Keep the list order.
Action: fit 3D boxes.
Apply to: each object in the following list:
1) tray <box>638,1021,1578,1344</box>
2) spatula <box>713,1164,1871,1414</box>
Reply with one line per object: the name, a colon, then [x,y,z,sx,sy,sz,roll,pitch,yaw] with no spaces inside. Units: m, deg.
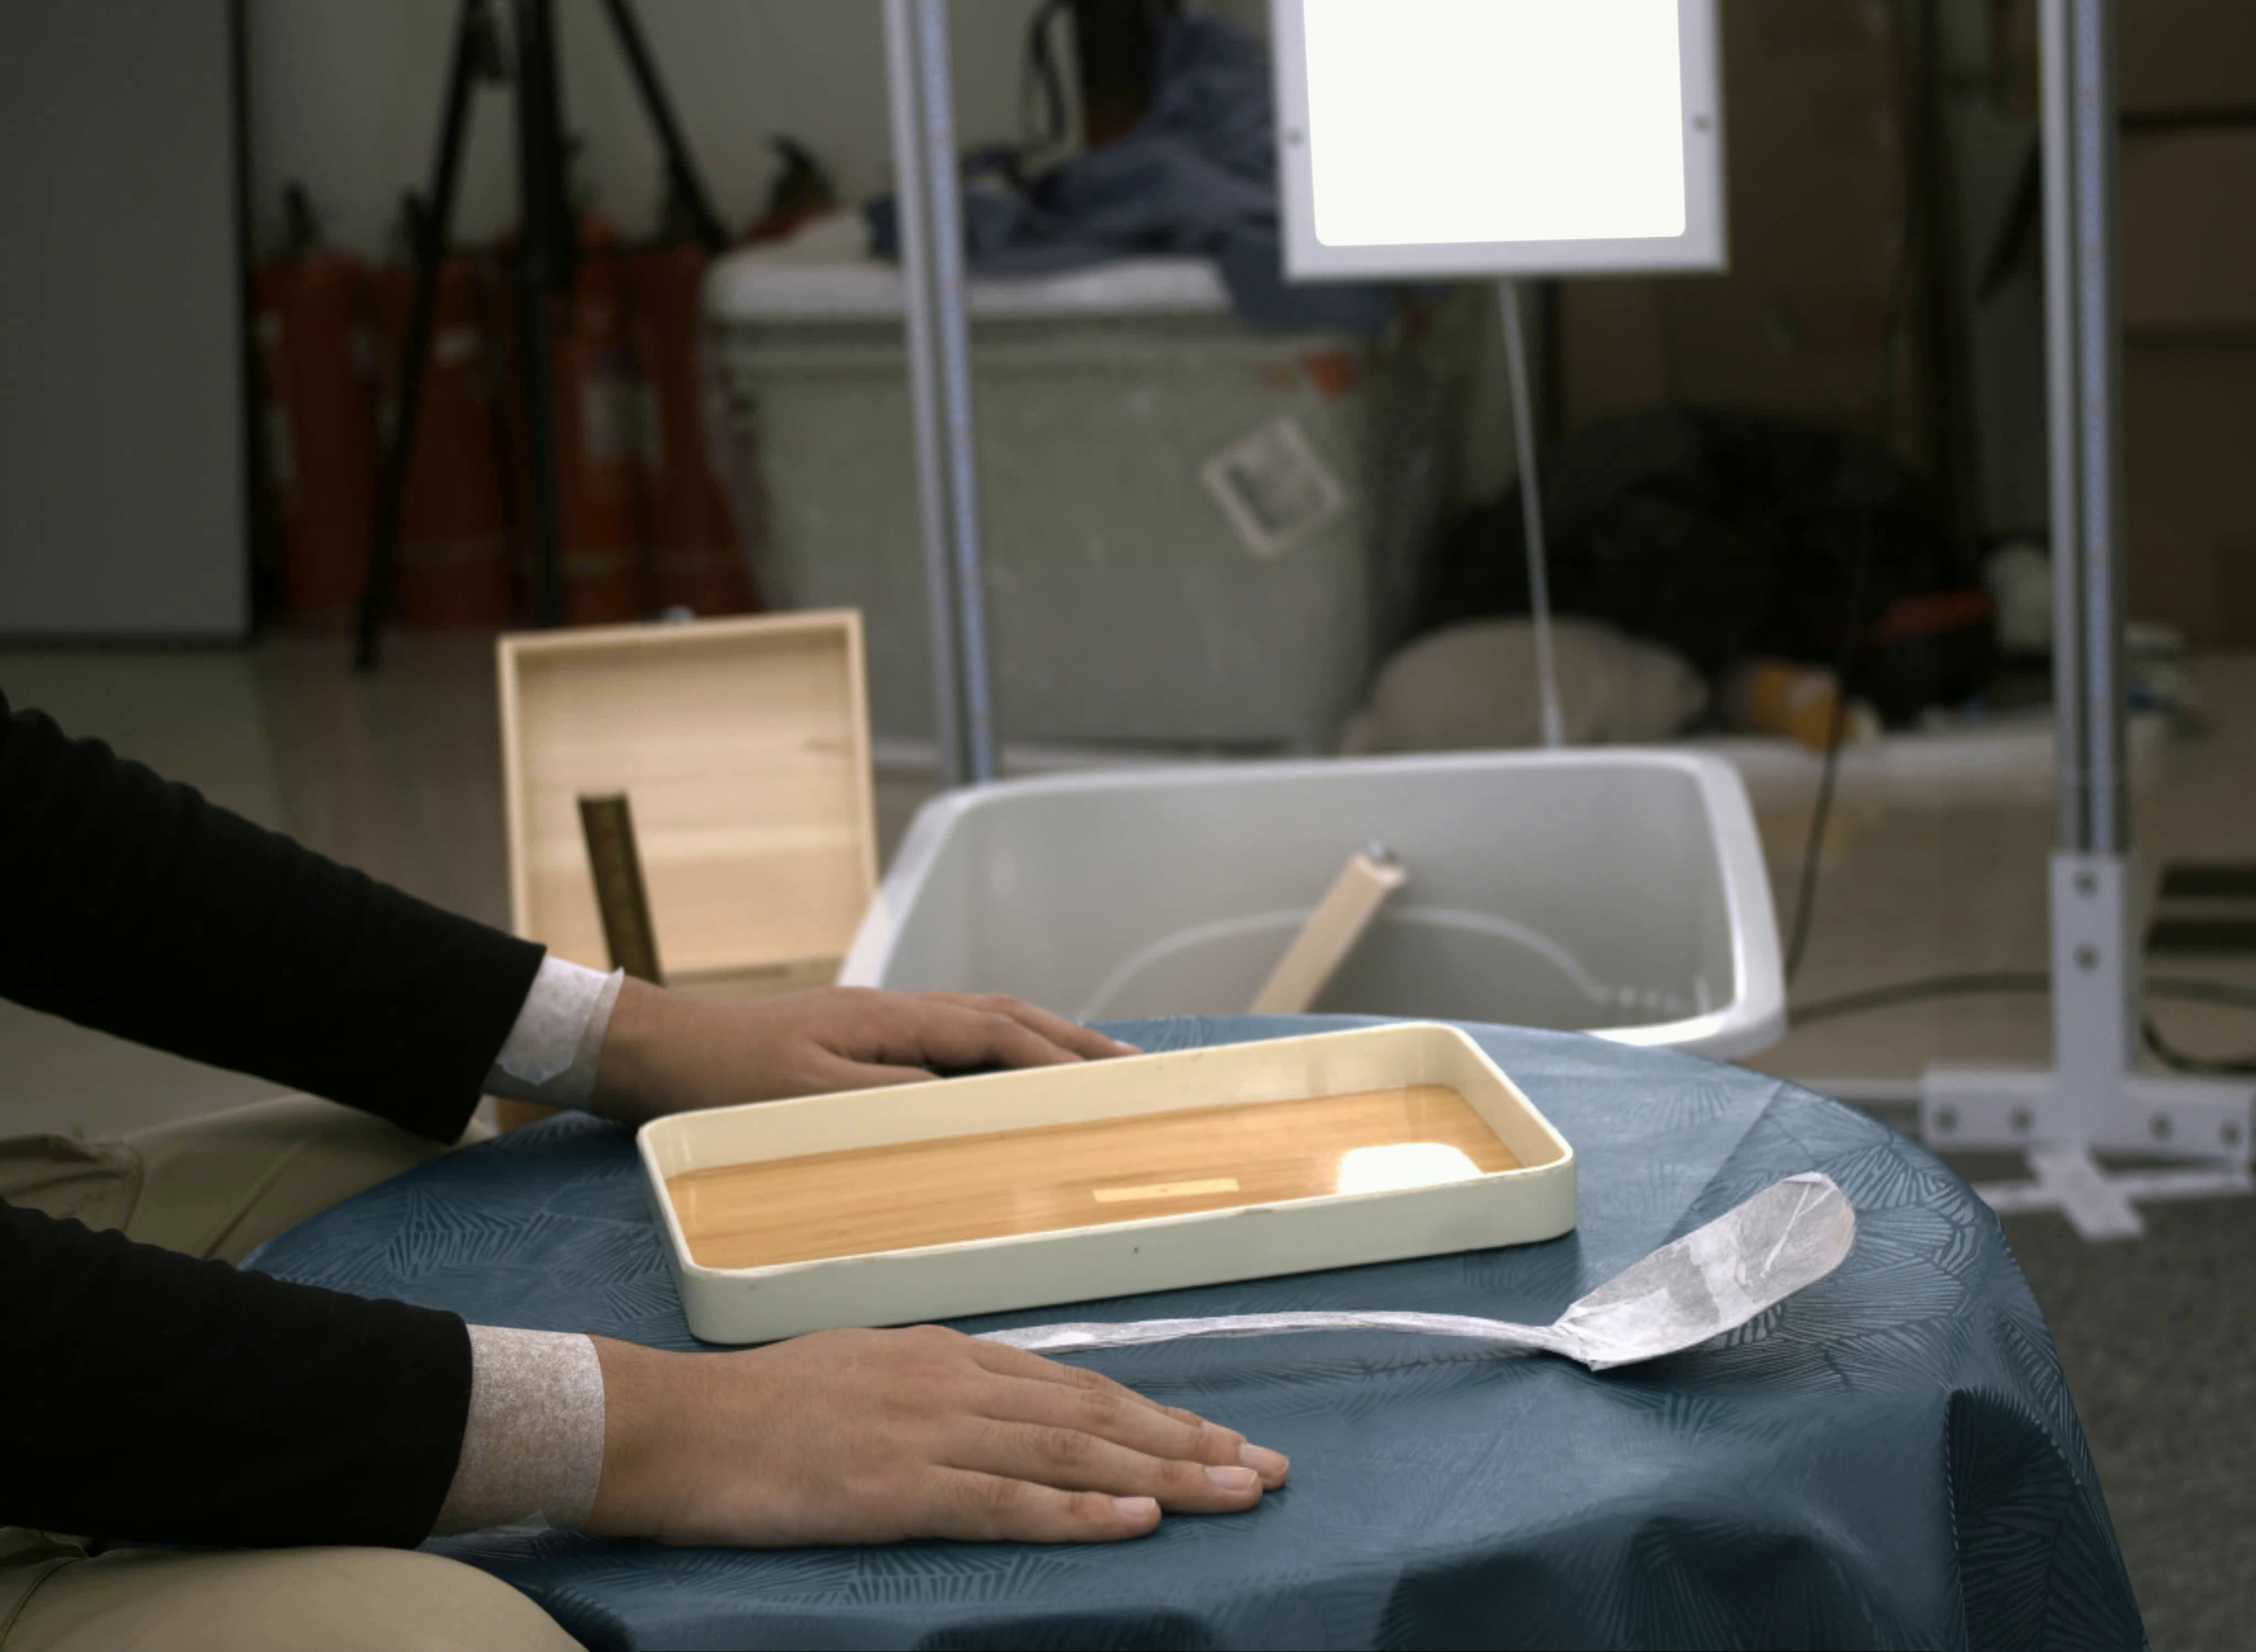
tray: [-0.011,0.119,1.876,0.298,0.027,0.192,-7,14,-7]
spatula: [0.049,0.150,1.704,0.364,0.045,0.098,-4,14,3]
